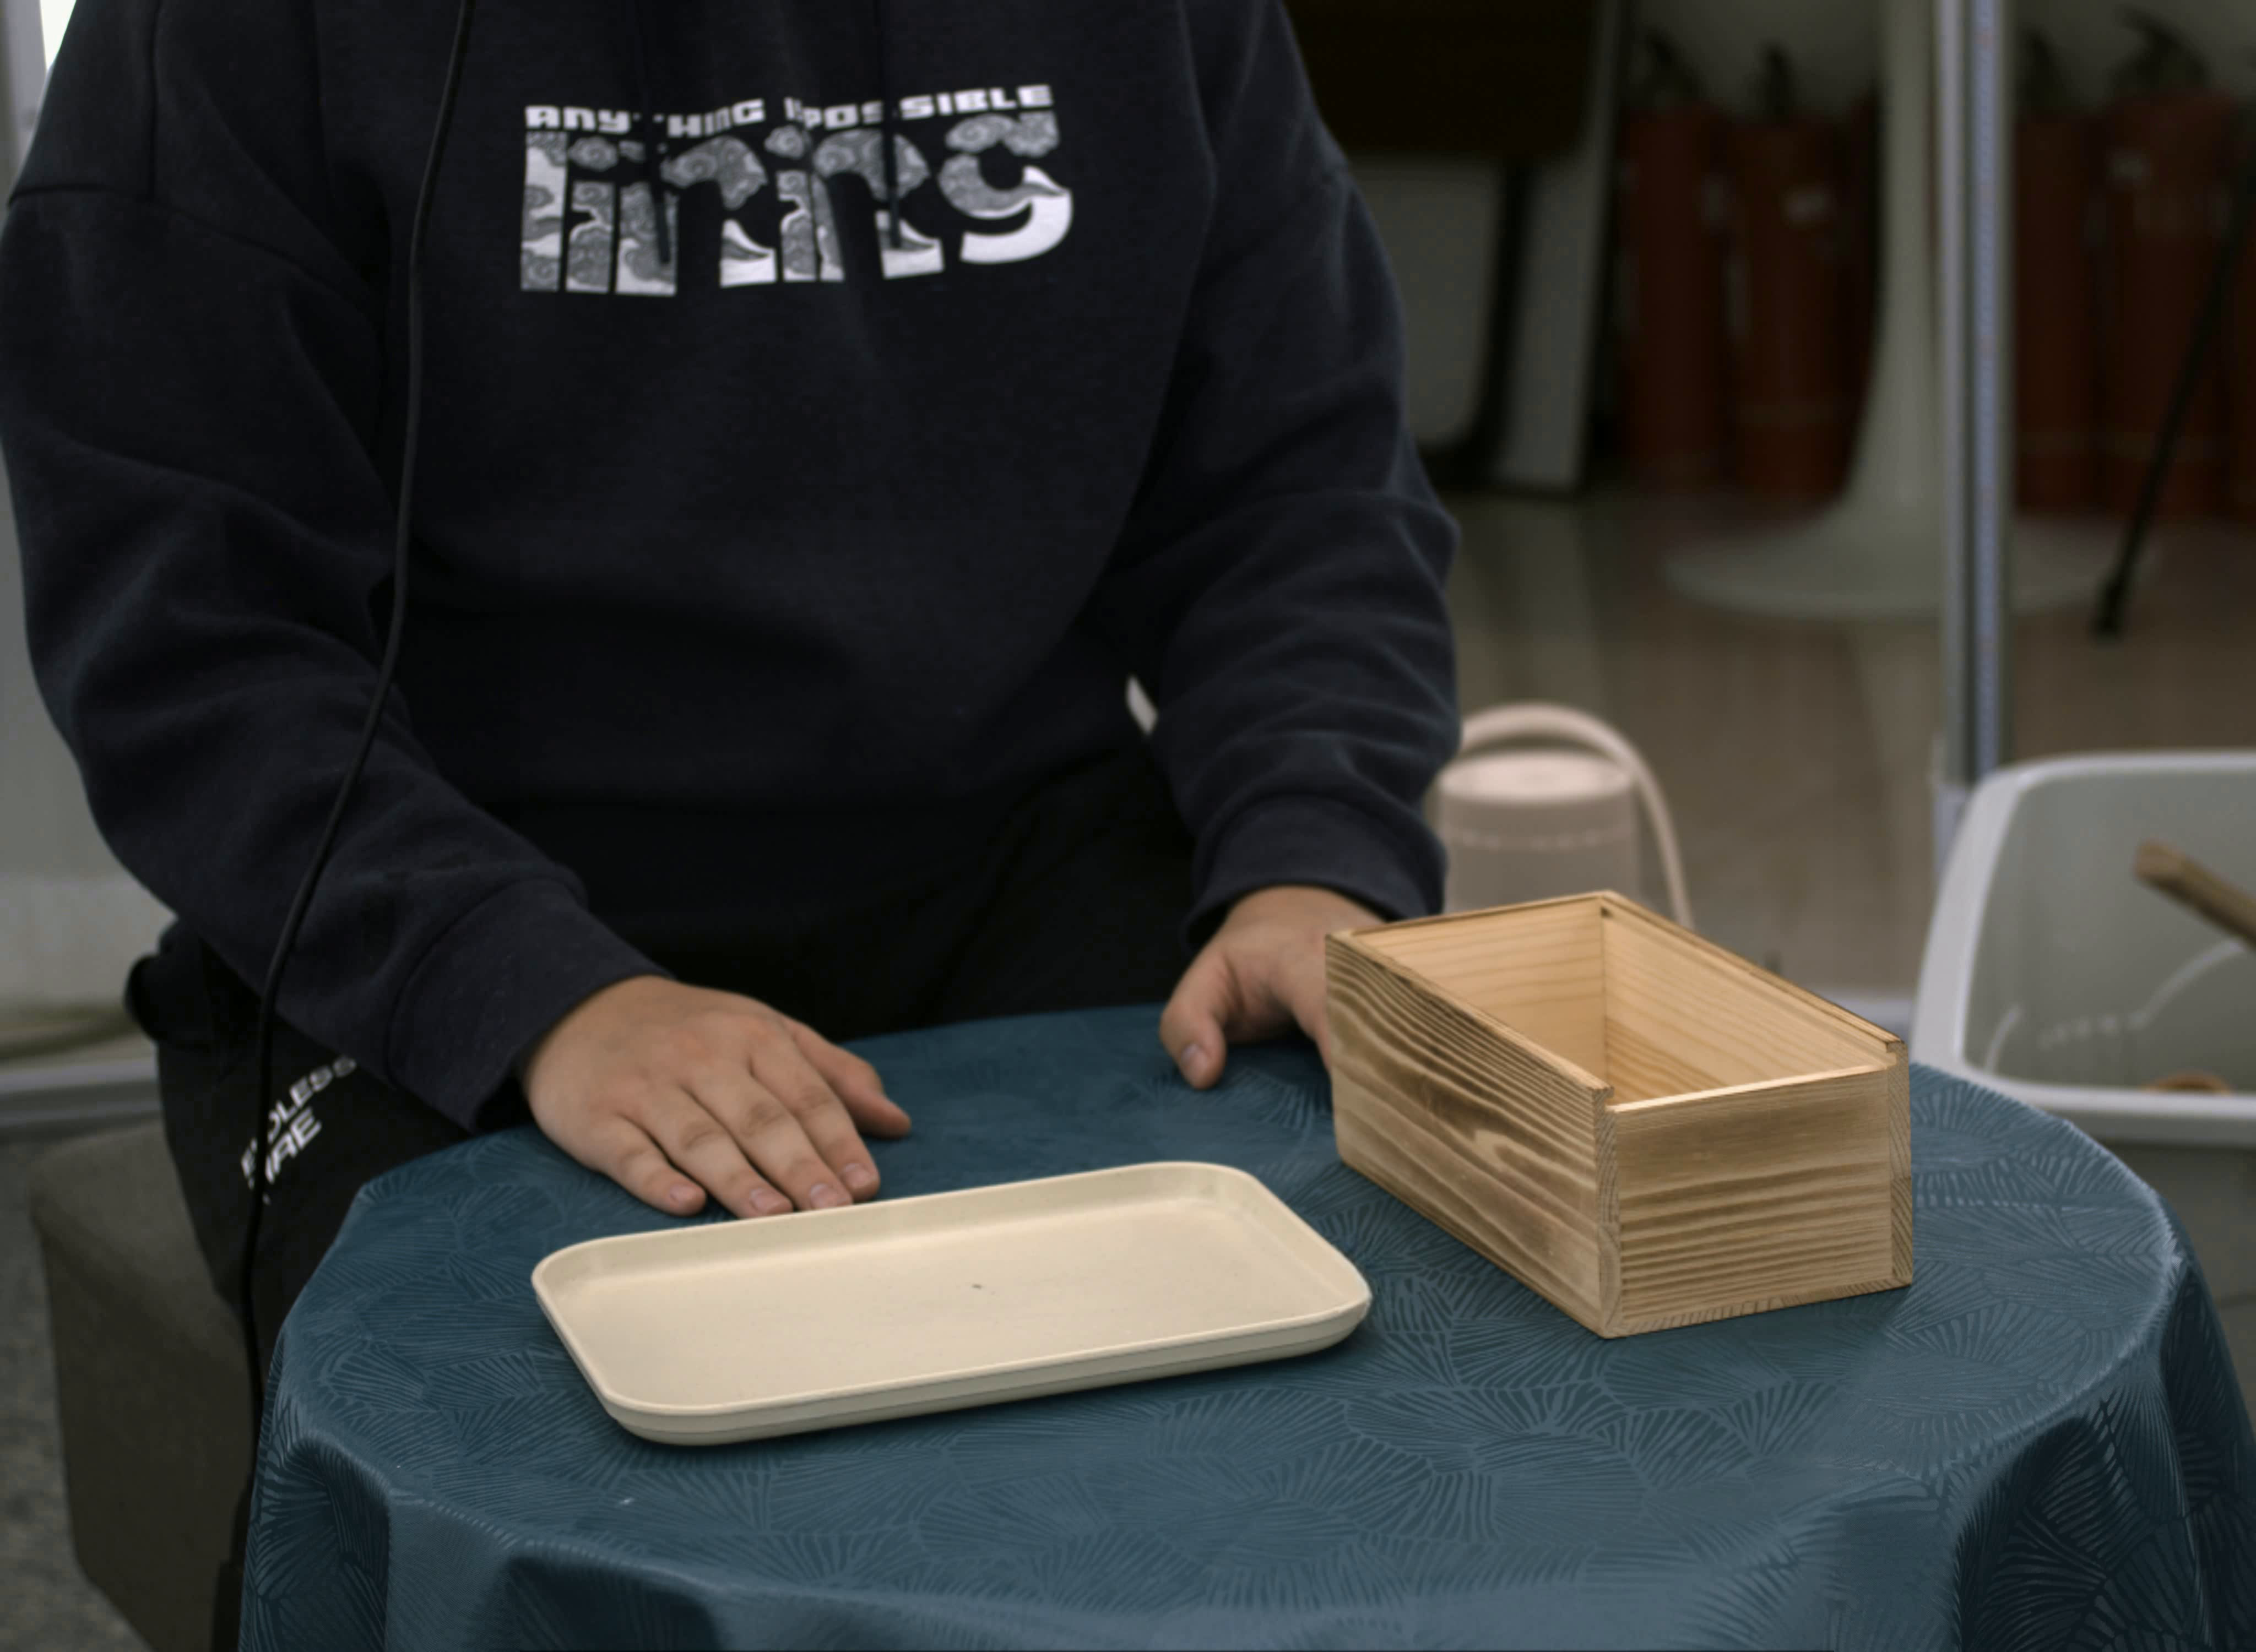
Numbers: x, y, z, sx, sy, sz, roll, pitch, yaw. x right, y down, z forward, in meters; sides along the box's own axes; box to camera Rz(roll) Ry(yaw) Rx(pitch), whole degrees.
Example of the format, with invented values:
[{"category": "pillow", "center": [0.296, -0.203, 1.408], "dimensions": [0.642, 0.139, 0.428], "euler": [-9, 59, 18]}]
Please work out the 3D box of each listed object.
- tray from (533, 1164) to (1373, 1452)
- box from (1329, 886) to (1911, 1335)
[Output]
[{"category": "tray", "center": [-0.055, 0.147, 1.650], "dimensions": [0.235, 0.017, 0.172], "euler": [-8, 14, -15]}, {"category": "box", "center": [0.152, 0.086, 1.705], "dimensions": [0.105, 0.081, 0.213], "euler": [-8, 14, -19]}]
